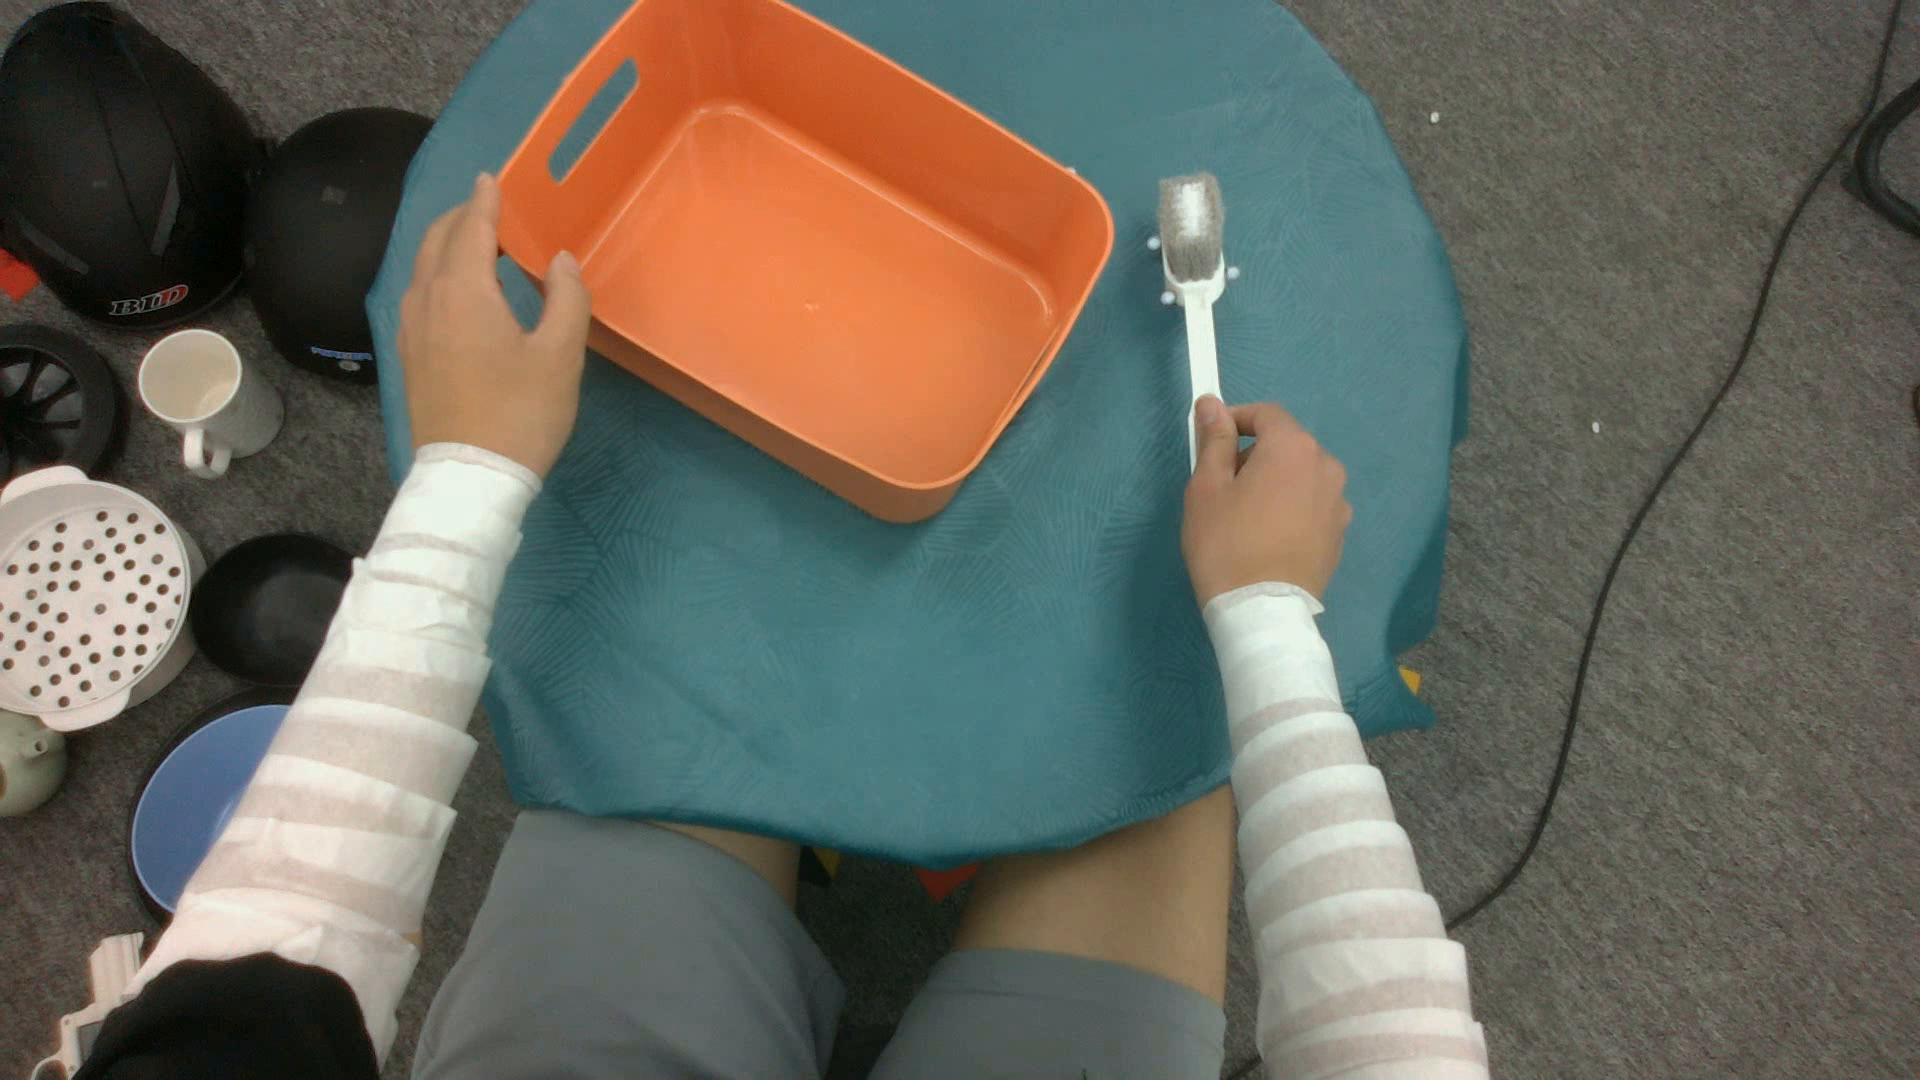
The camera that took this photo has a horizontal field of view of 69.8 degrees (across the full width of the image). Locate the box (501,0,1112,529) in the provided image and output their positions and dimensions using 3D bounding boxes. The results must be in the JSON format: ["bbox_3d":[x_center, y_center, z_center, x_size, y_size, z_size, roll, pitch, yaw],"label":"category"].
[{"bbox_3d":[-0.078,-0.137,0.726,0.273,0.102,0.200,29,72,5],"label":"box"}]

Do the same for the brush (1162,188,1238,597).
[{"bbox_3d":[0.131,-0.088,0.741,0.034,0.050,0.244,-2,63,6],"label":"brush"}]
